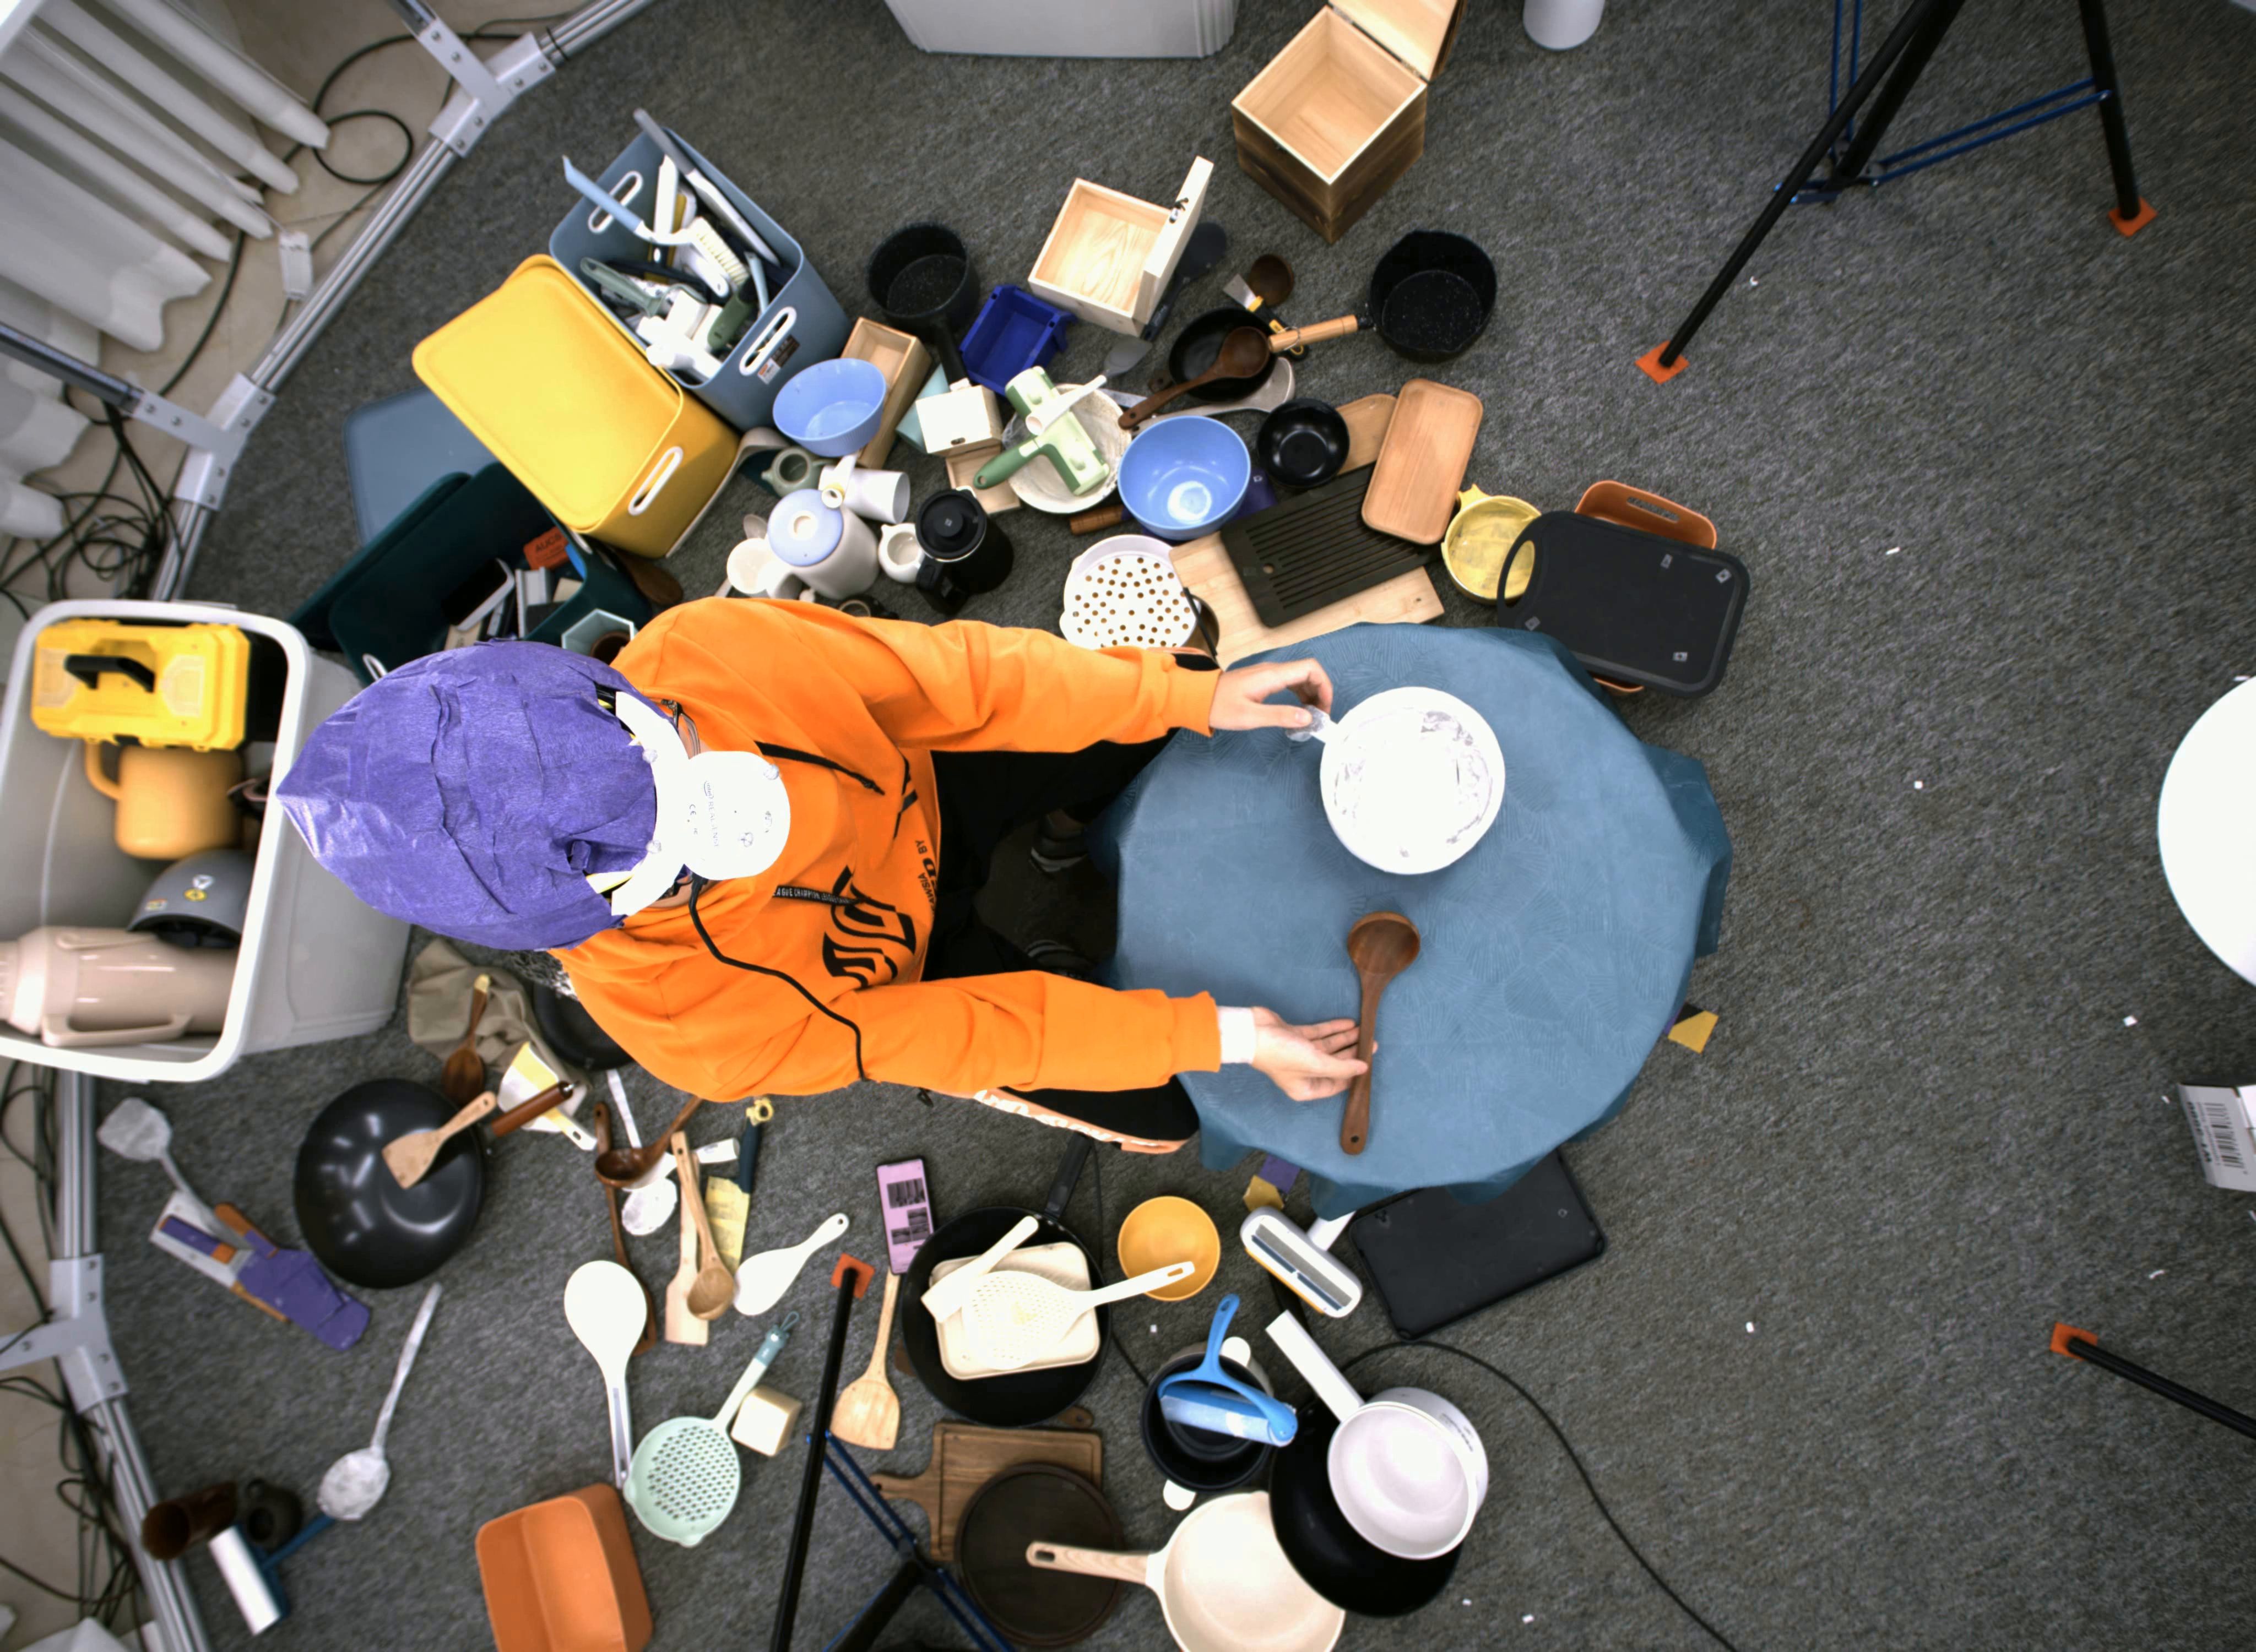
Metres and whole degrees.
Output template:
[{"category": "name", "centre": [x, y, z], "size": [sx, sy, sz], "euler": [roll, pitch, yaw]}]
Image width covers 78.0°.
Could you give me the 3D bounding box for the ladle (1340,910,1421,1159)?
[{"category": "ladle", "centre": [0.248, 0.214, 1.424], "size": [0.076, 0.065, 0.259], "euler": [9, 88, 9]}]

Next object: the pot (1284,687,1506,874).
[{"category": "pot", "centre": [0.262, -0.057, 1.399], "size": [0.233, 0.137, 0.179], "euler": [31, 91, 10]}]
